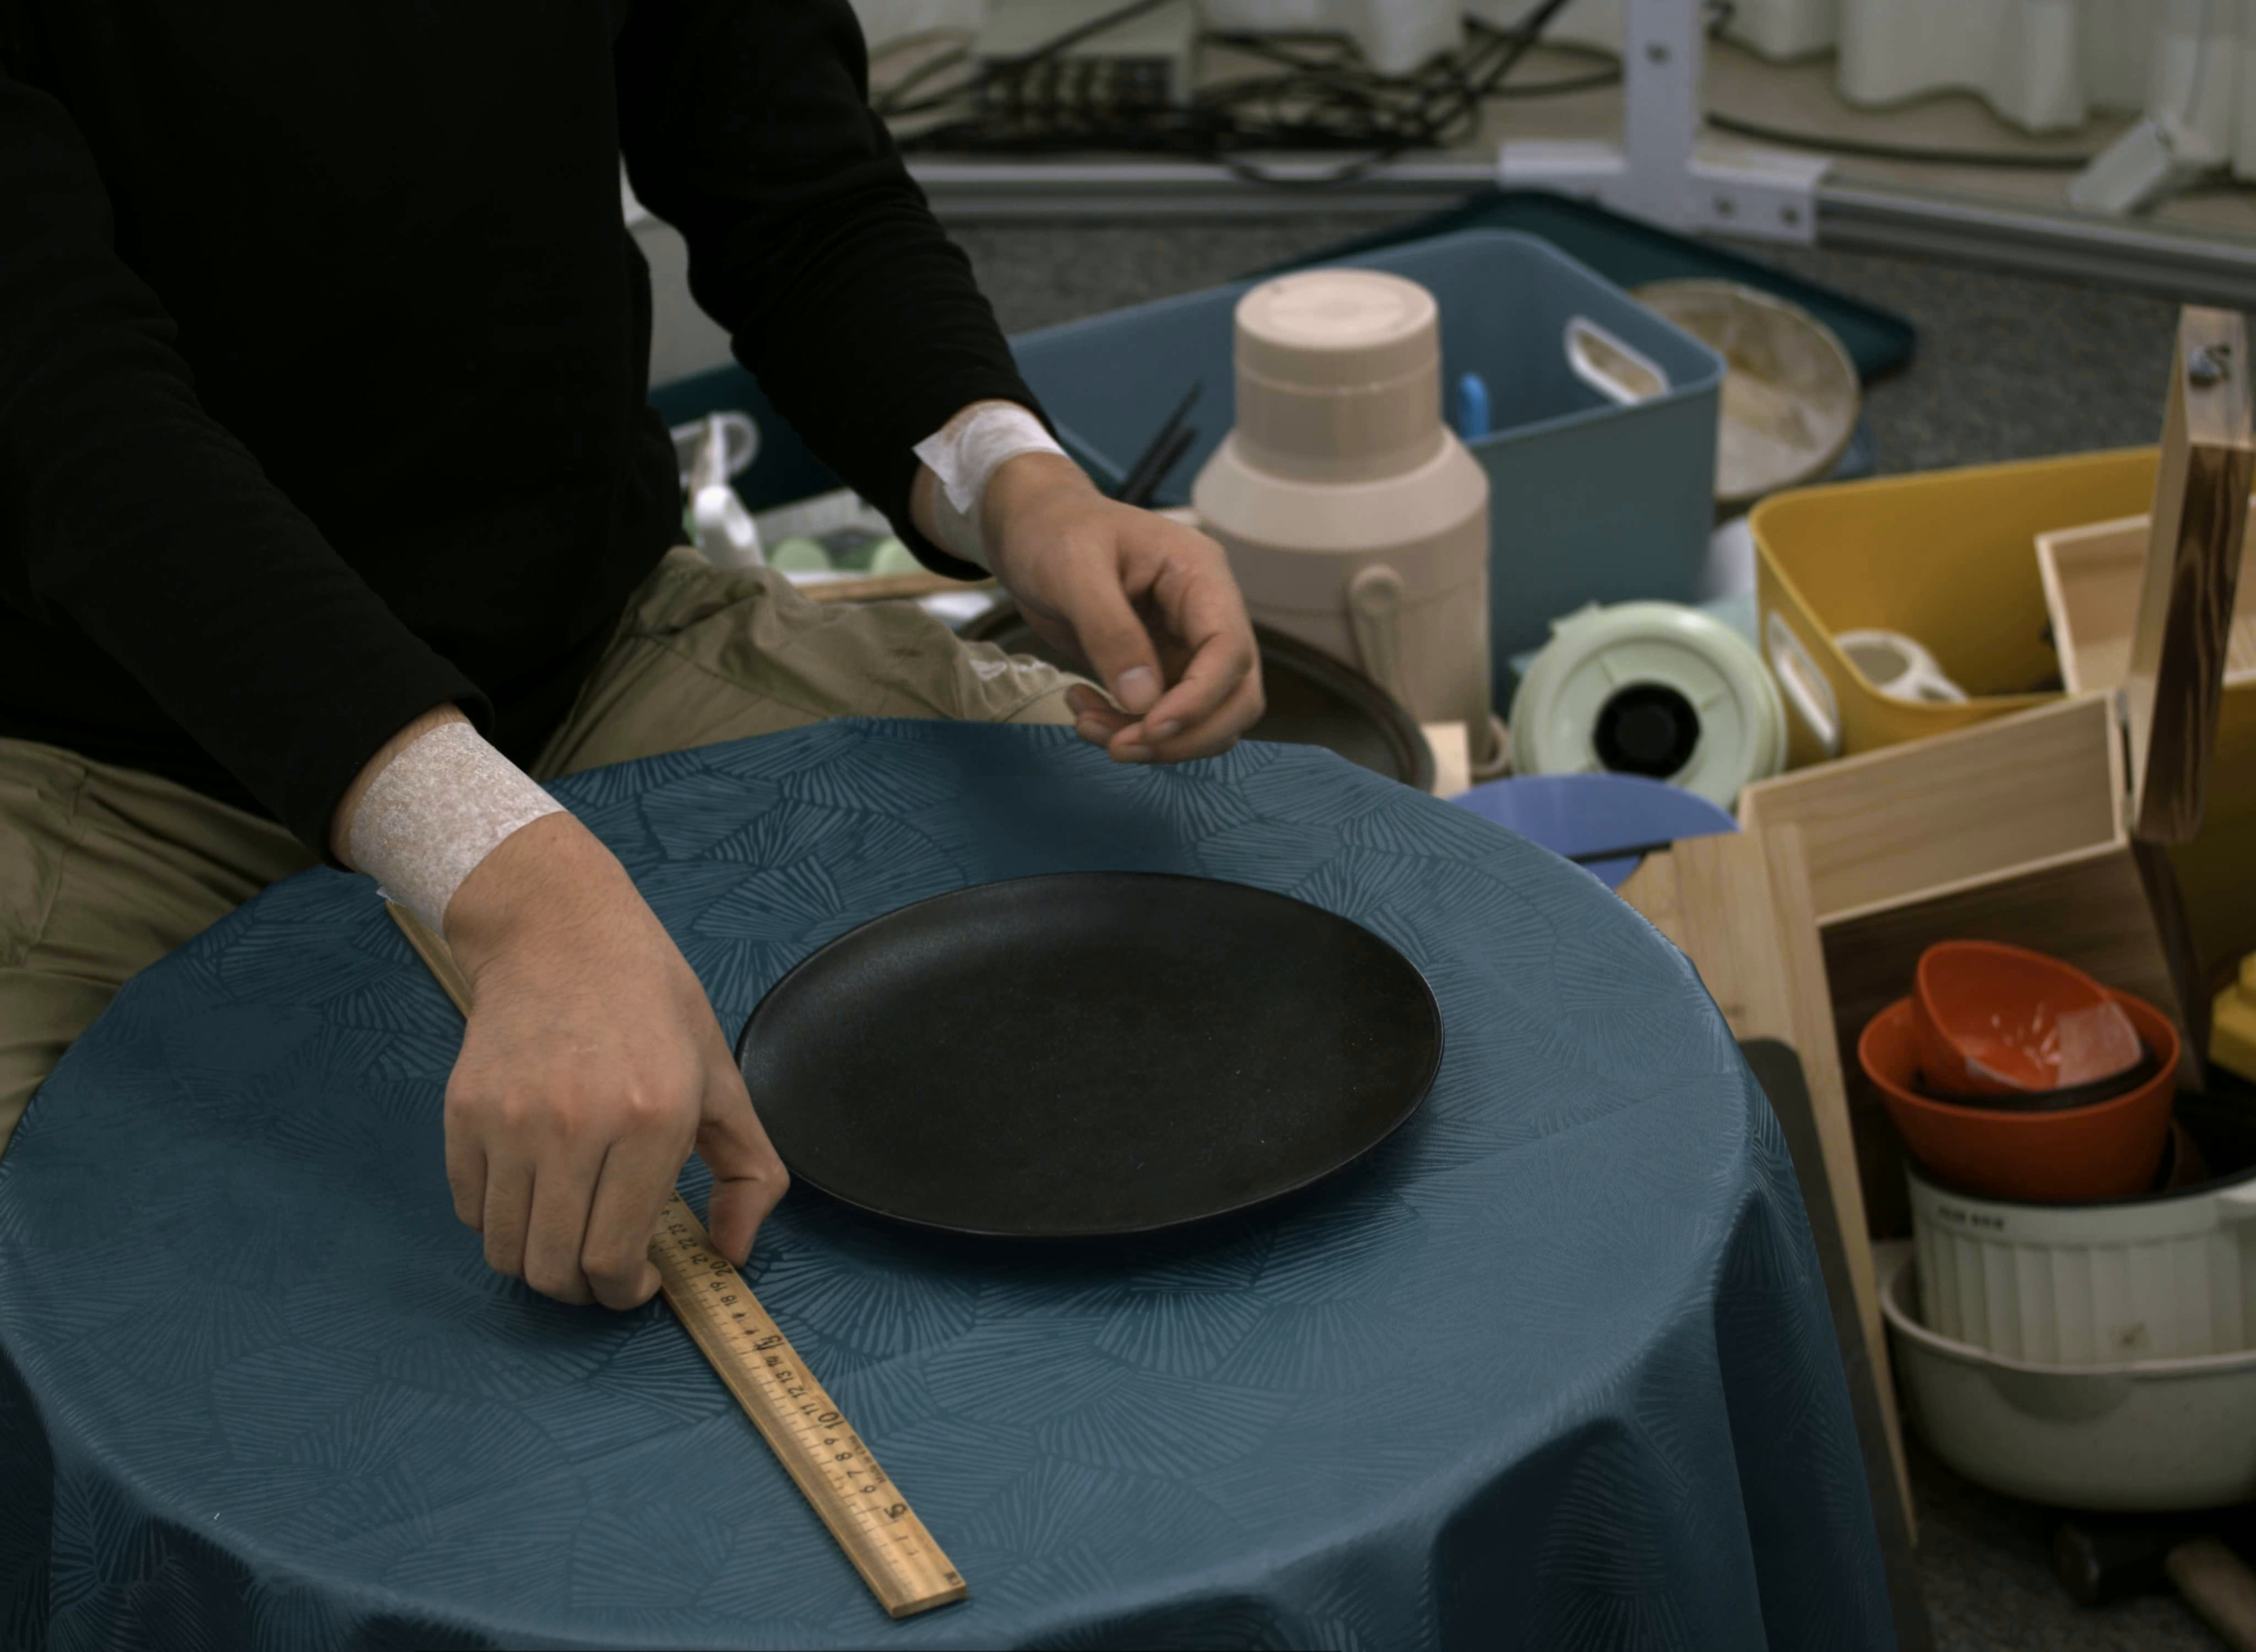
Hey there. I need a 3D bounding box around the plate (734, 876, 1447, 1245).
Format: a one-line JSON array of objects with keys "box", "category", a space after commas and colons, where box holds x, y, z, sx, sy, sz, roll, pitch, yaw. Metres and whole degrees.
[{"box": [-0.012, 0.083, 1.912, 0.243, 0.023, 0.248, -2, 27, 2], "category": "plate"}]

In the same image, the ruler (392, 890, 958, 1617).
[{"box": [-0.159, 0.128, 1.858, 0.027, 0.006, 0.504, -12, 28, -20], "category": "ruler"}]
